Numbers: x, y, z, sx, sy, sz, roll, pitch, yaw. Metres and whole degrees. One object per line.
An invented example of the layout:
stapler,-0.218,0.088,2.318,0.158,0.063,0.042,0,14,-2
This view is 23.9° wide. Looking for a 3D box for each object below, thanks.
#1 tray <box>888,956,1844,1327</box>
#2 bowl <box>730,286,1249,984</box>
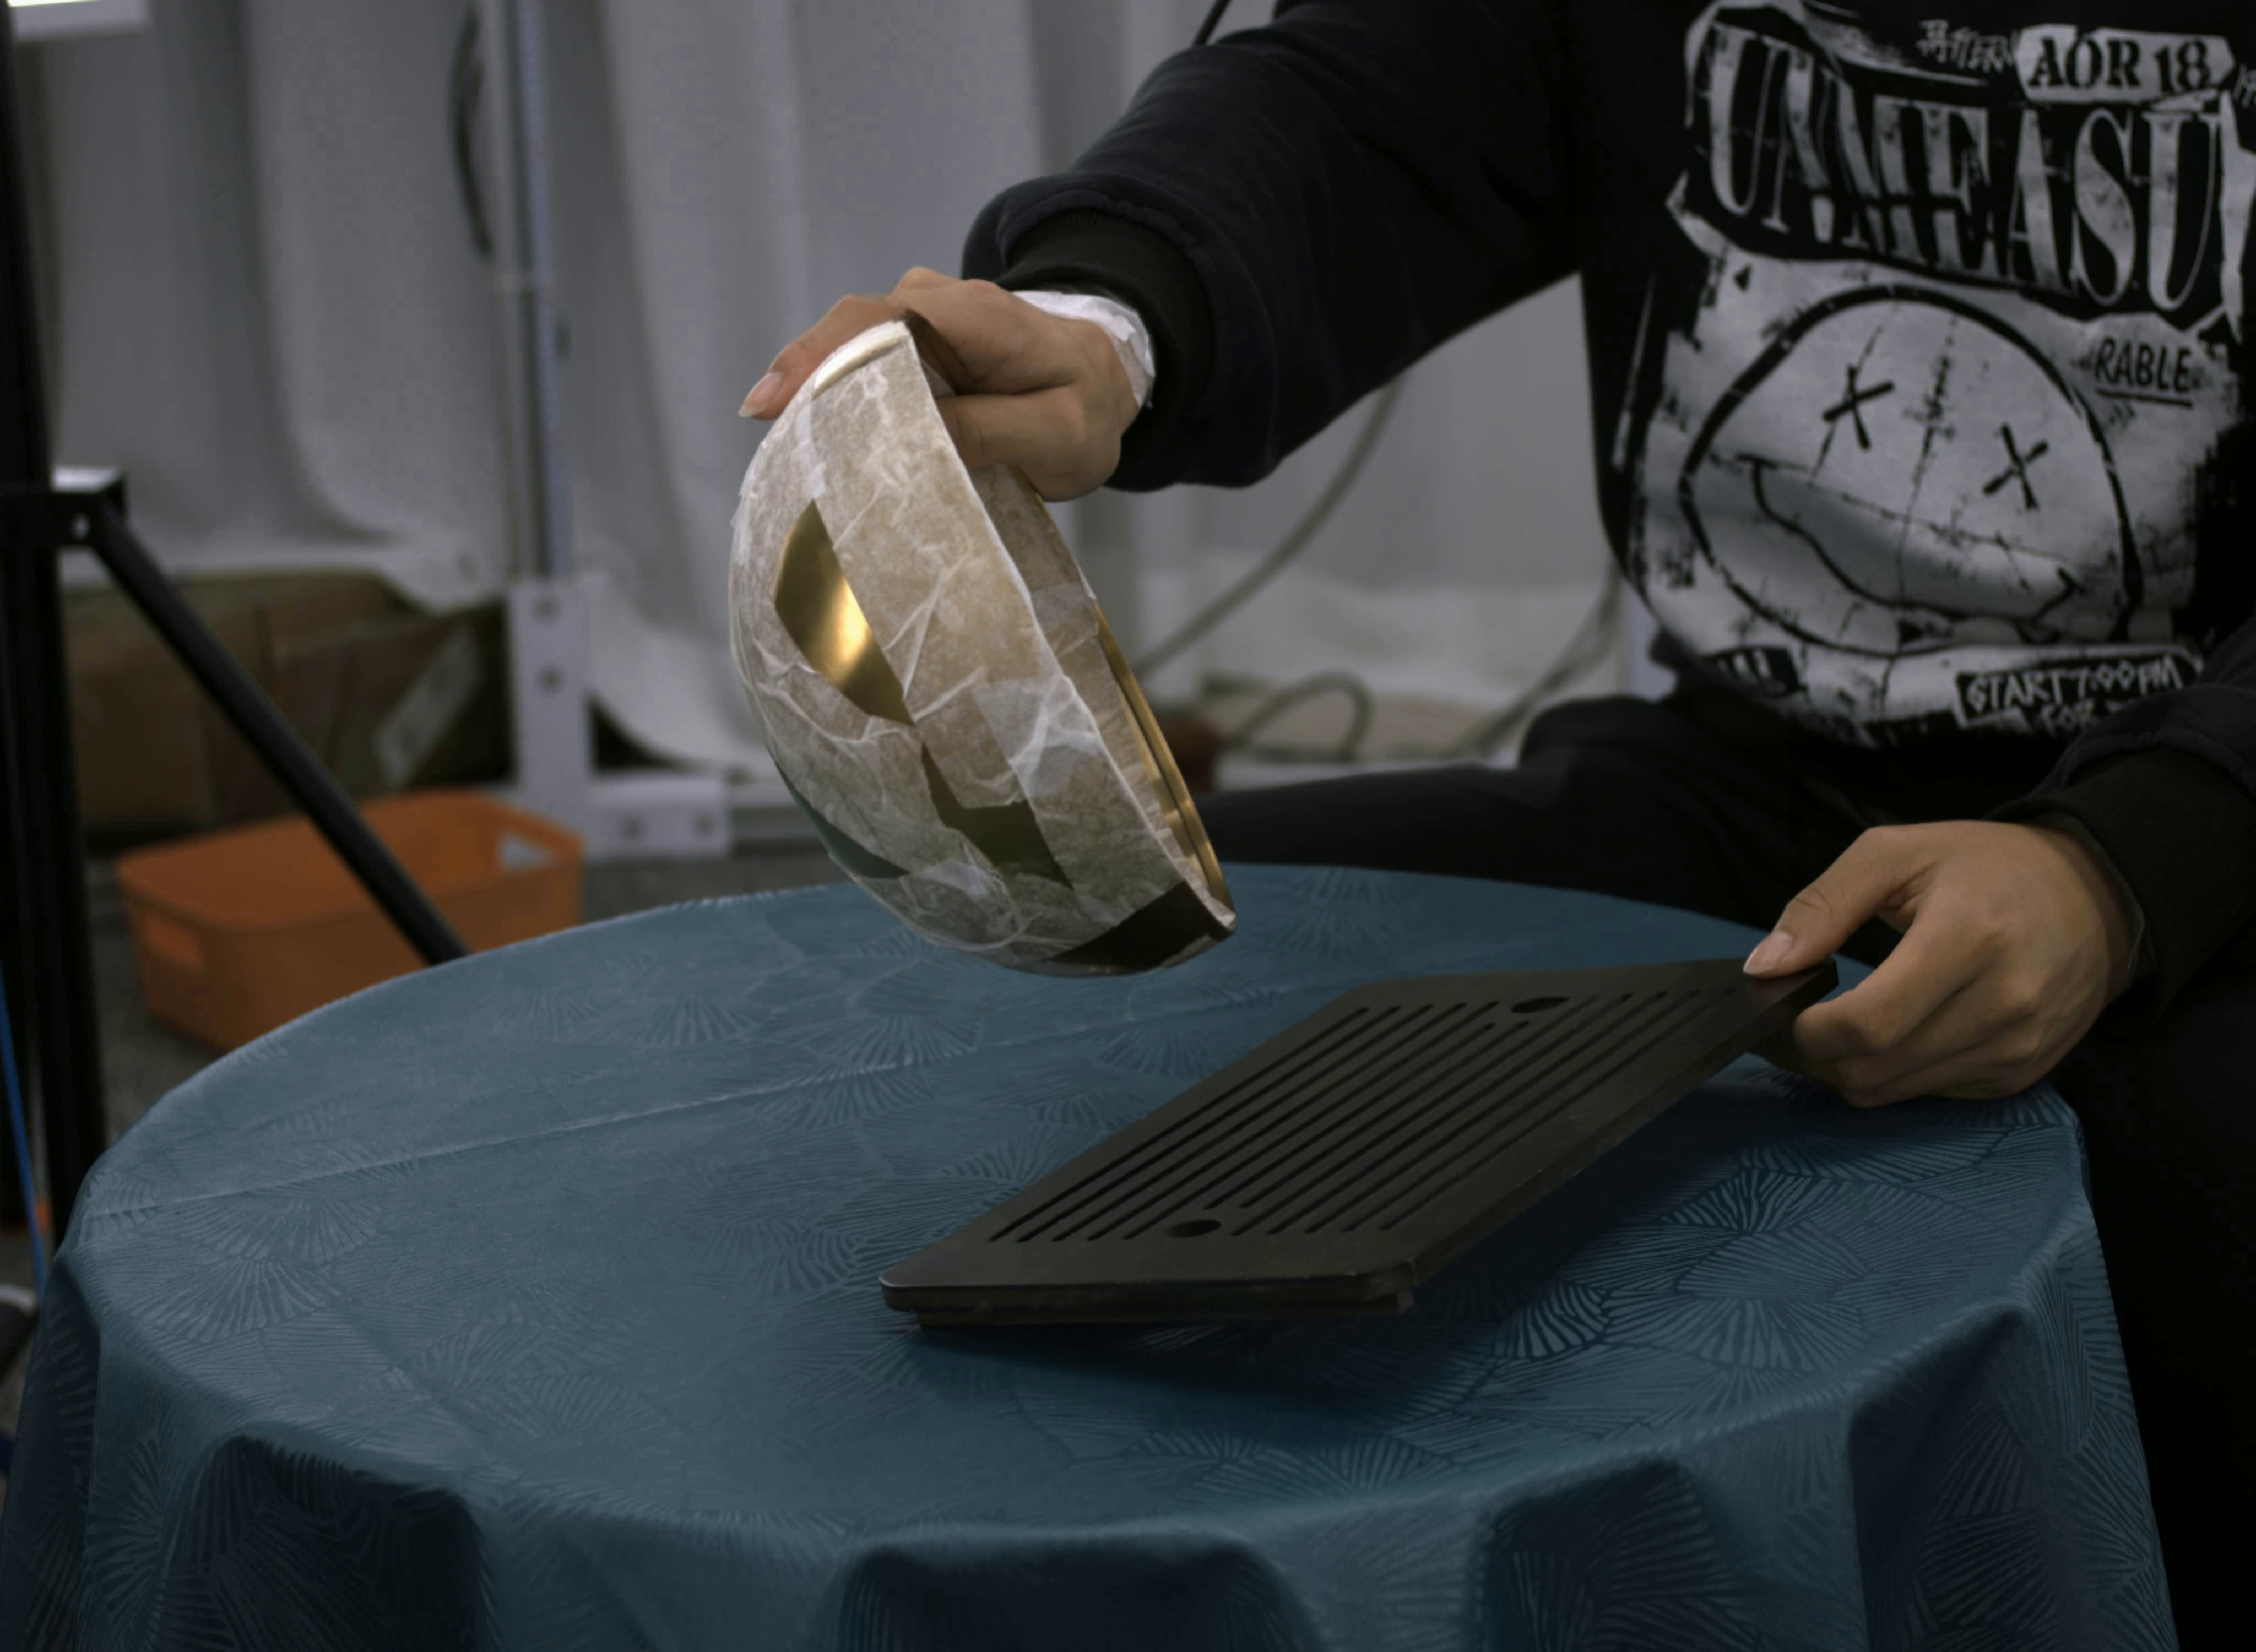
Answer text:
tray,0.076,0.090,1.526,0.173,0.018,0.300,-4,13,32
bowl,-0.051,-0.035,1.494,0.094,0.213,0.216,-28,14,6
